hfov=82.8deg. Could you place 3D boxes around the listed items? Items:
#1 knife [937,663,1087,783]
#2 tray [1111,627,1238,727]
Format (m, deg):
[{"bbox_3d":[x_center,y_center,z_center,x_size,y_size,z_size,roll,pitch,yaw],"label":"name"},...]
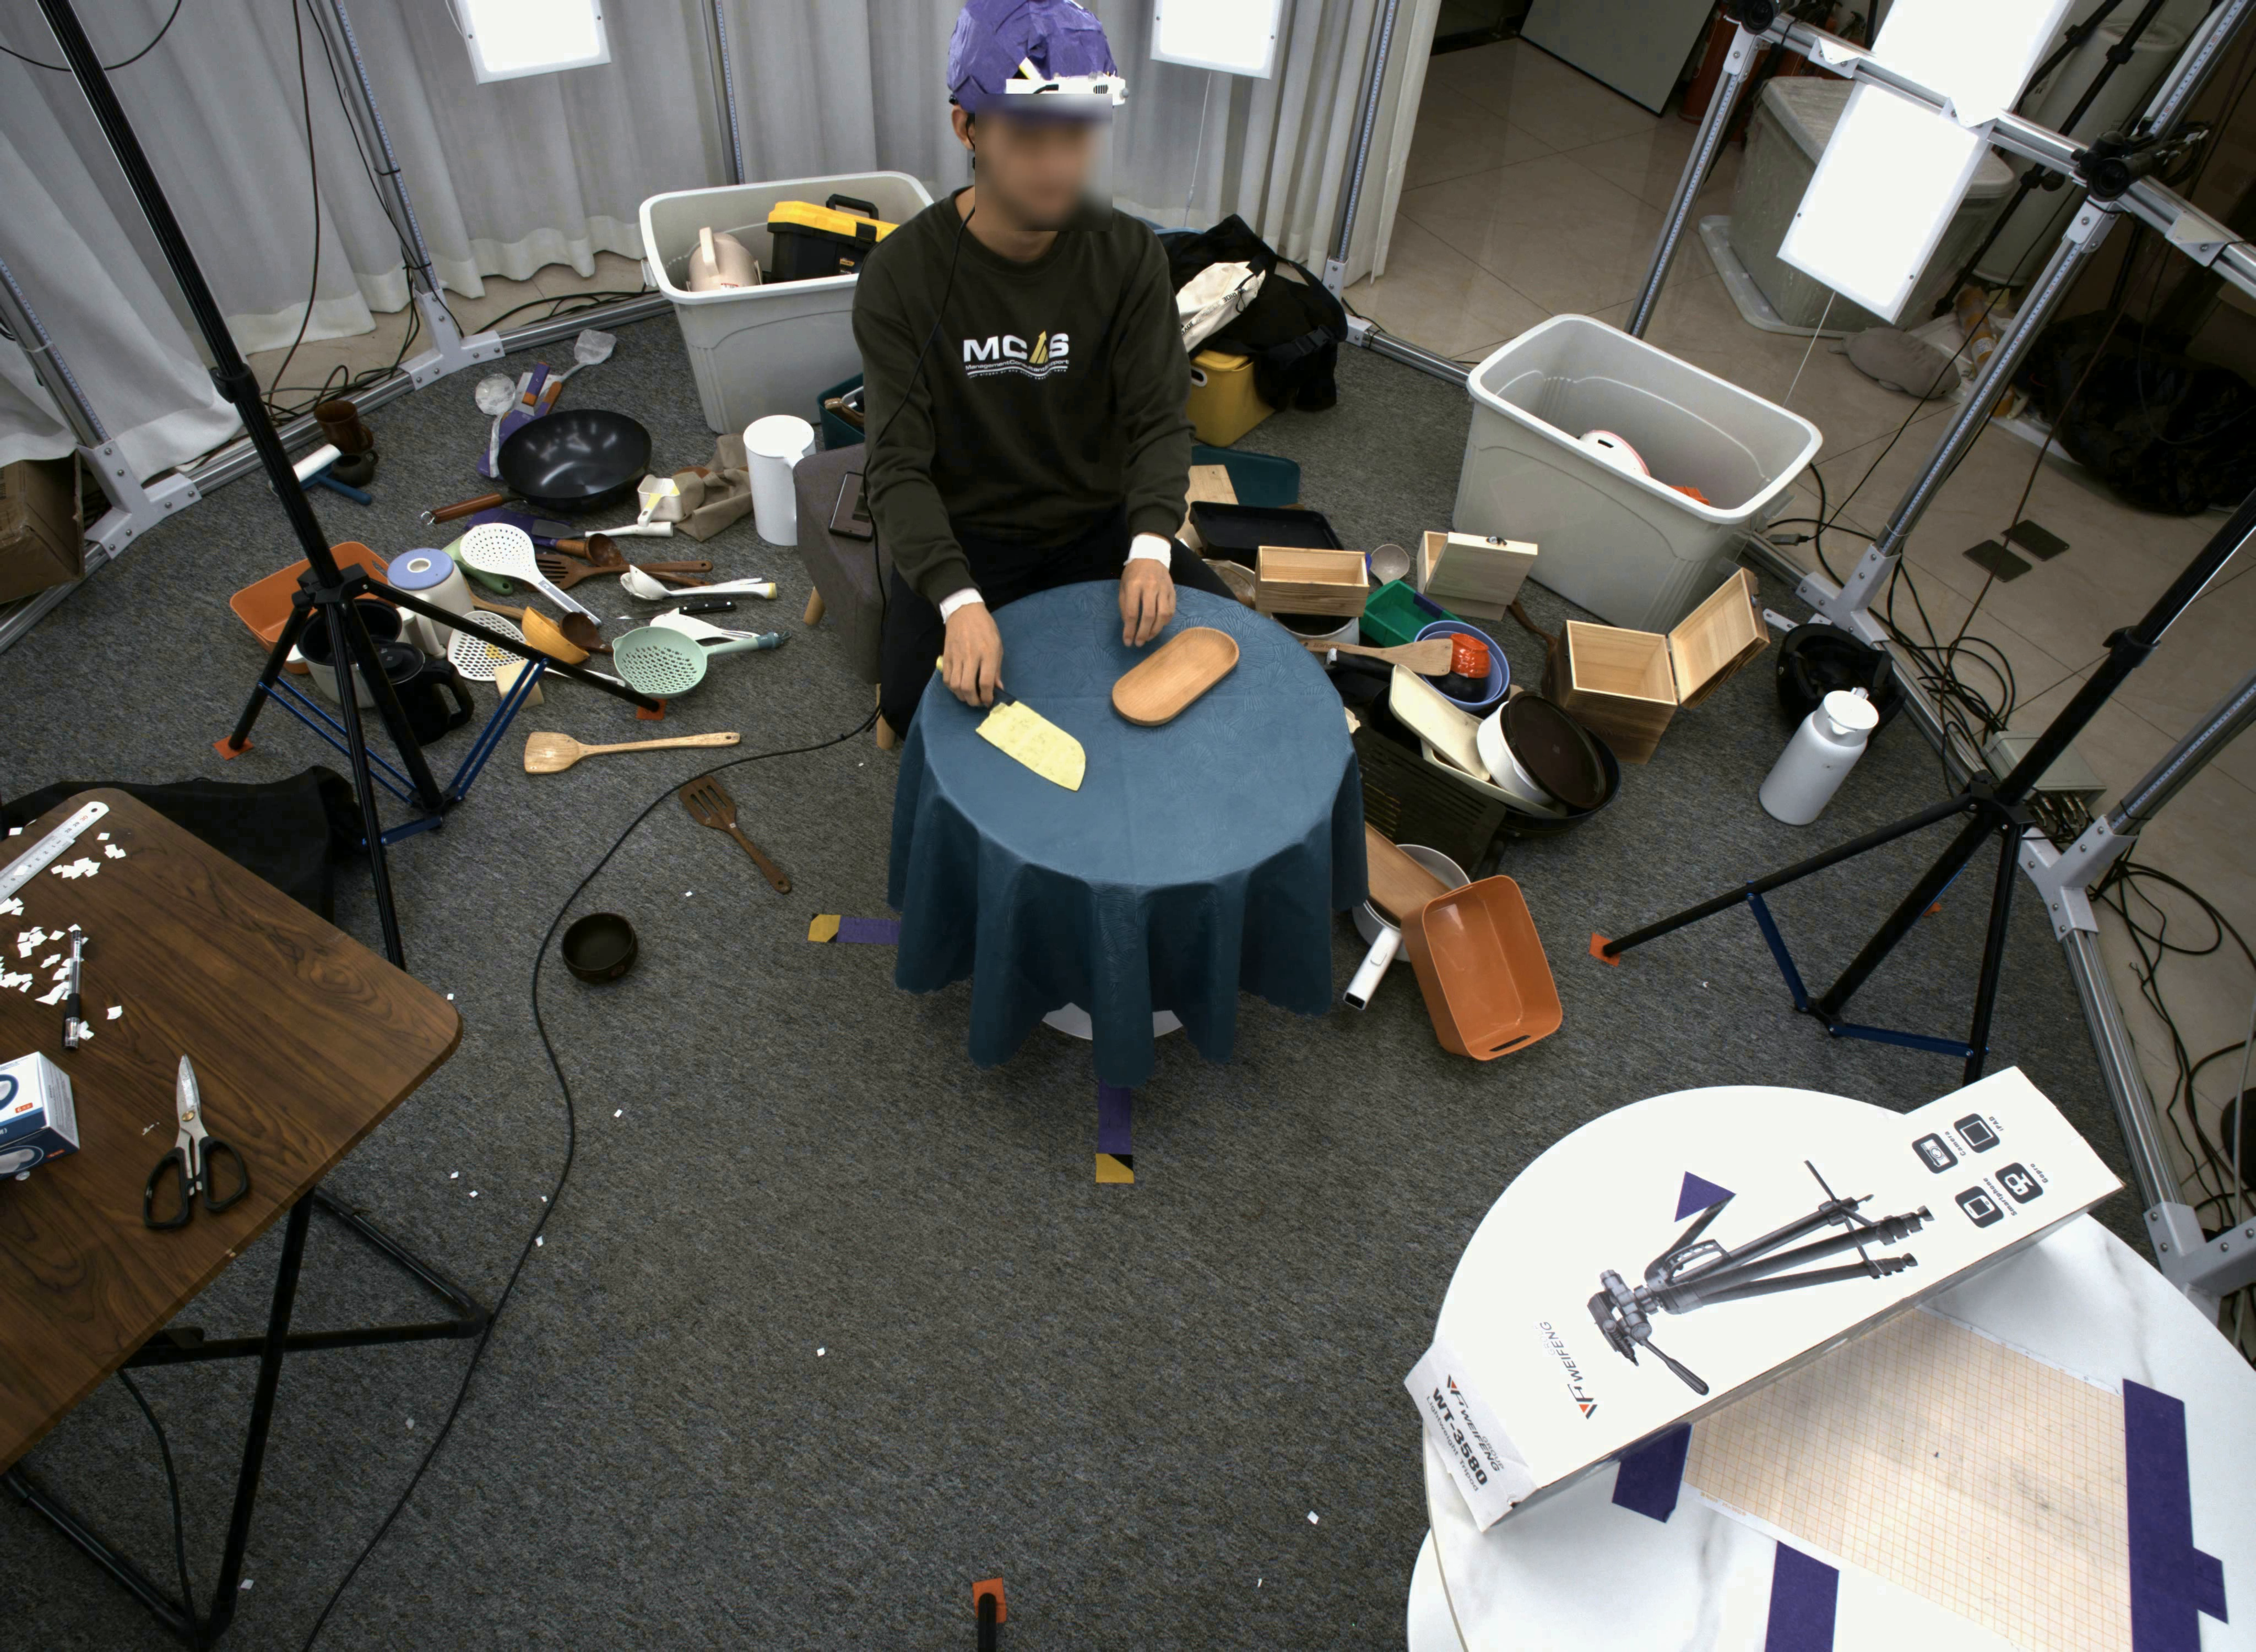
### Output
[{"bbox_3d":[-0.167,-0.142,1.766,0.293,0.026,0.082,36,69,25],"label":"knife"},{"bbox_3d":[0.069,-0.216,1.848,0.103,0.020,0.234,33,56,24],"label":"tray"}]
